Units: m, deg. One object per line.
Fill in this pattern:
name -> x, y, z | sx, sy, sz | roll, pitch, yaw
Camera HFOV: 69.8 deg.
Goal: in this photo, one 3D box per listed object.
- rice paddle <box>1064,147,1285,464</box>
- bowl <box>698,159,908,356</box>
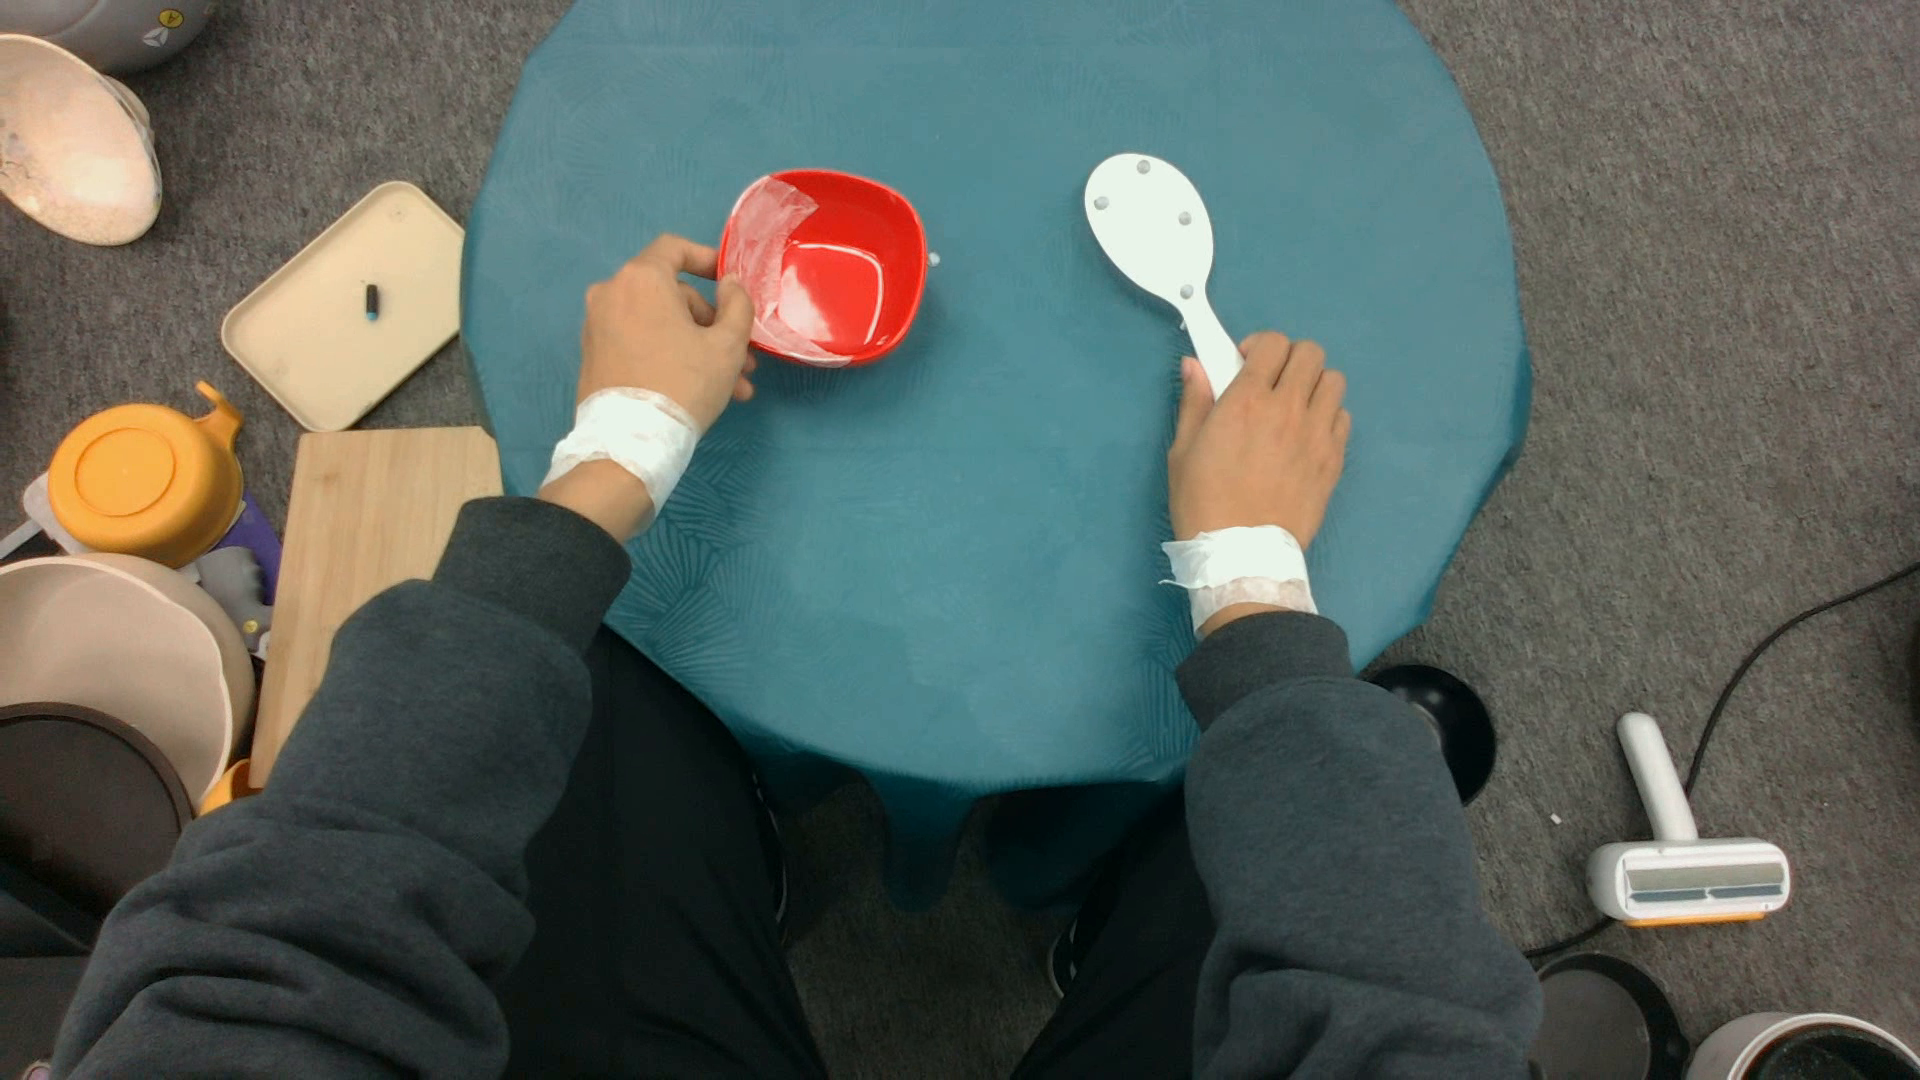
rice paddle -> 0.120, -0.138, 0.770 | 0.069, 0.029, 0.205 | -21, 75, -16
bowl -> -0.084, -0.146, 0.751 | 0.119, 0.051, 0.119 | 1, 75, -3
